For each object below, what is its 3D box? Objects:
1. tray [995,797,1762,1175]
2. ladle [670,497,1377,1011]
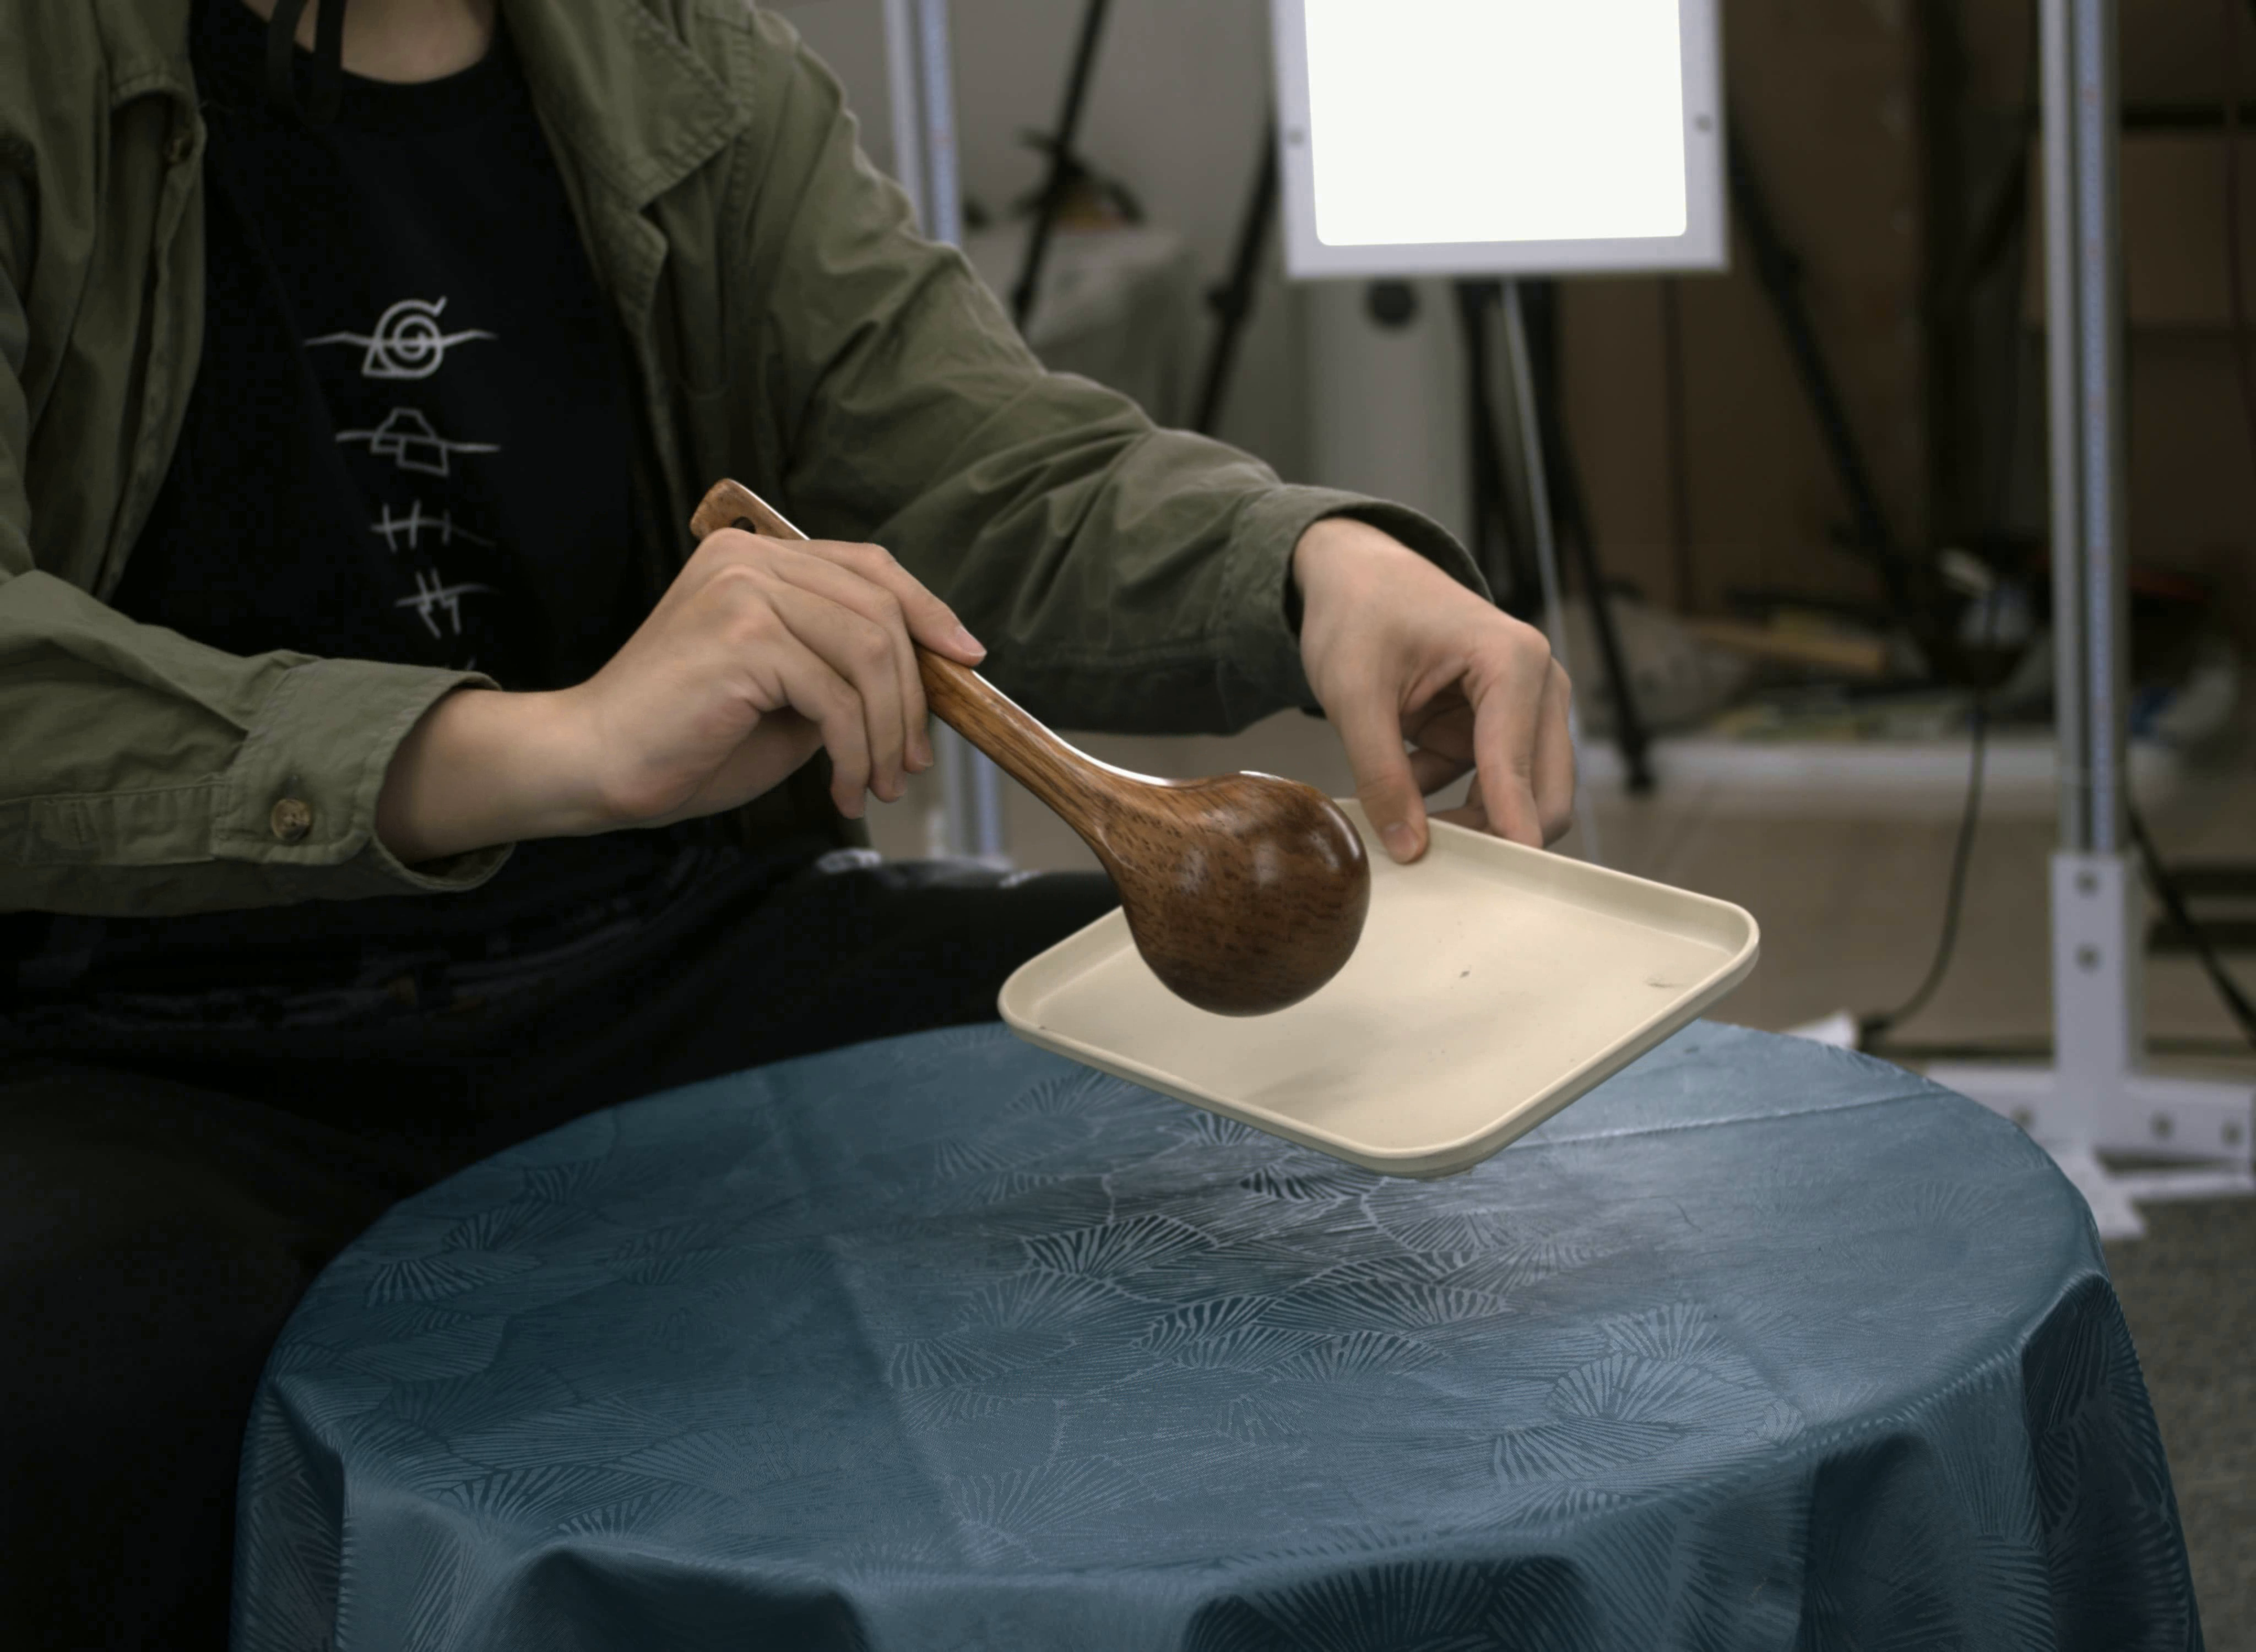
[{"bbox_3d":[0.081,0.051,1.815,0.168,0.017,0.244,-31,28,-29],"label":"tray"},{"bbox_3d":[-0.034,-0.032,1.815,0.278,0.082,0.075,34,2,31],"label":"ladle"}]
